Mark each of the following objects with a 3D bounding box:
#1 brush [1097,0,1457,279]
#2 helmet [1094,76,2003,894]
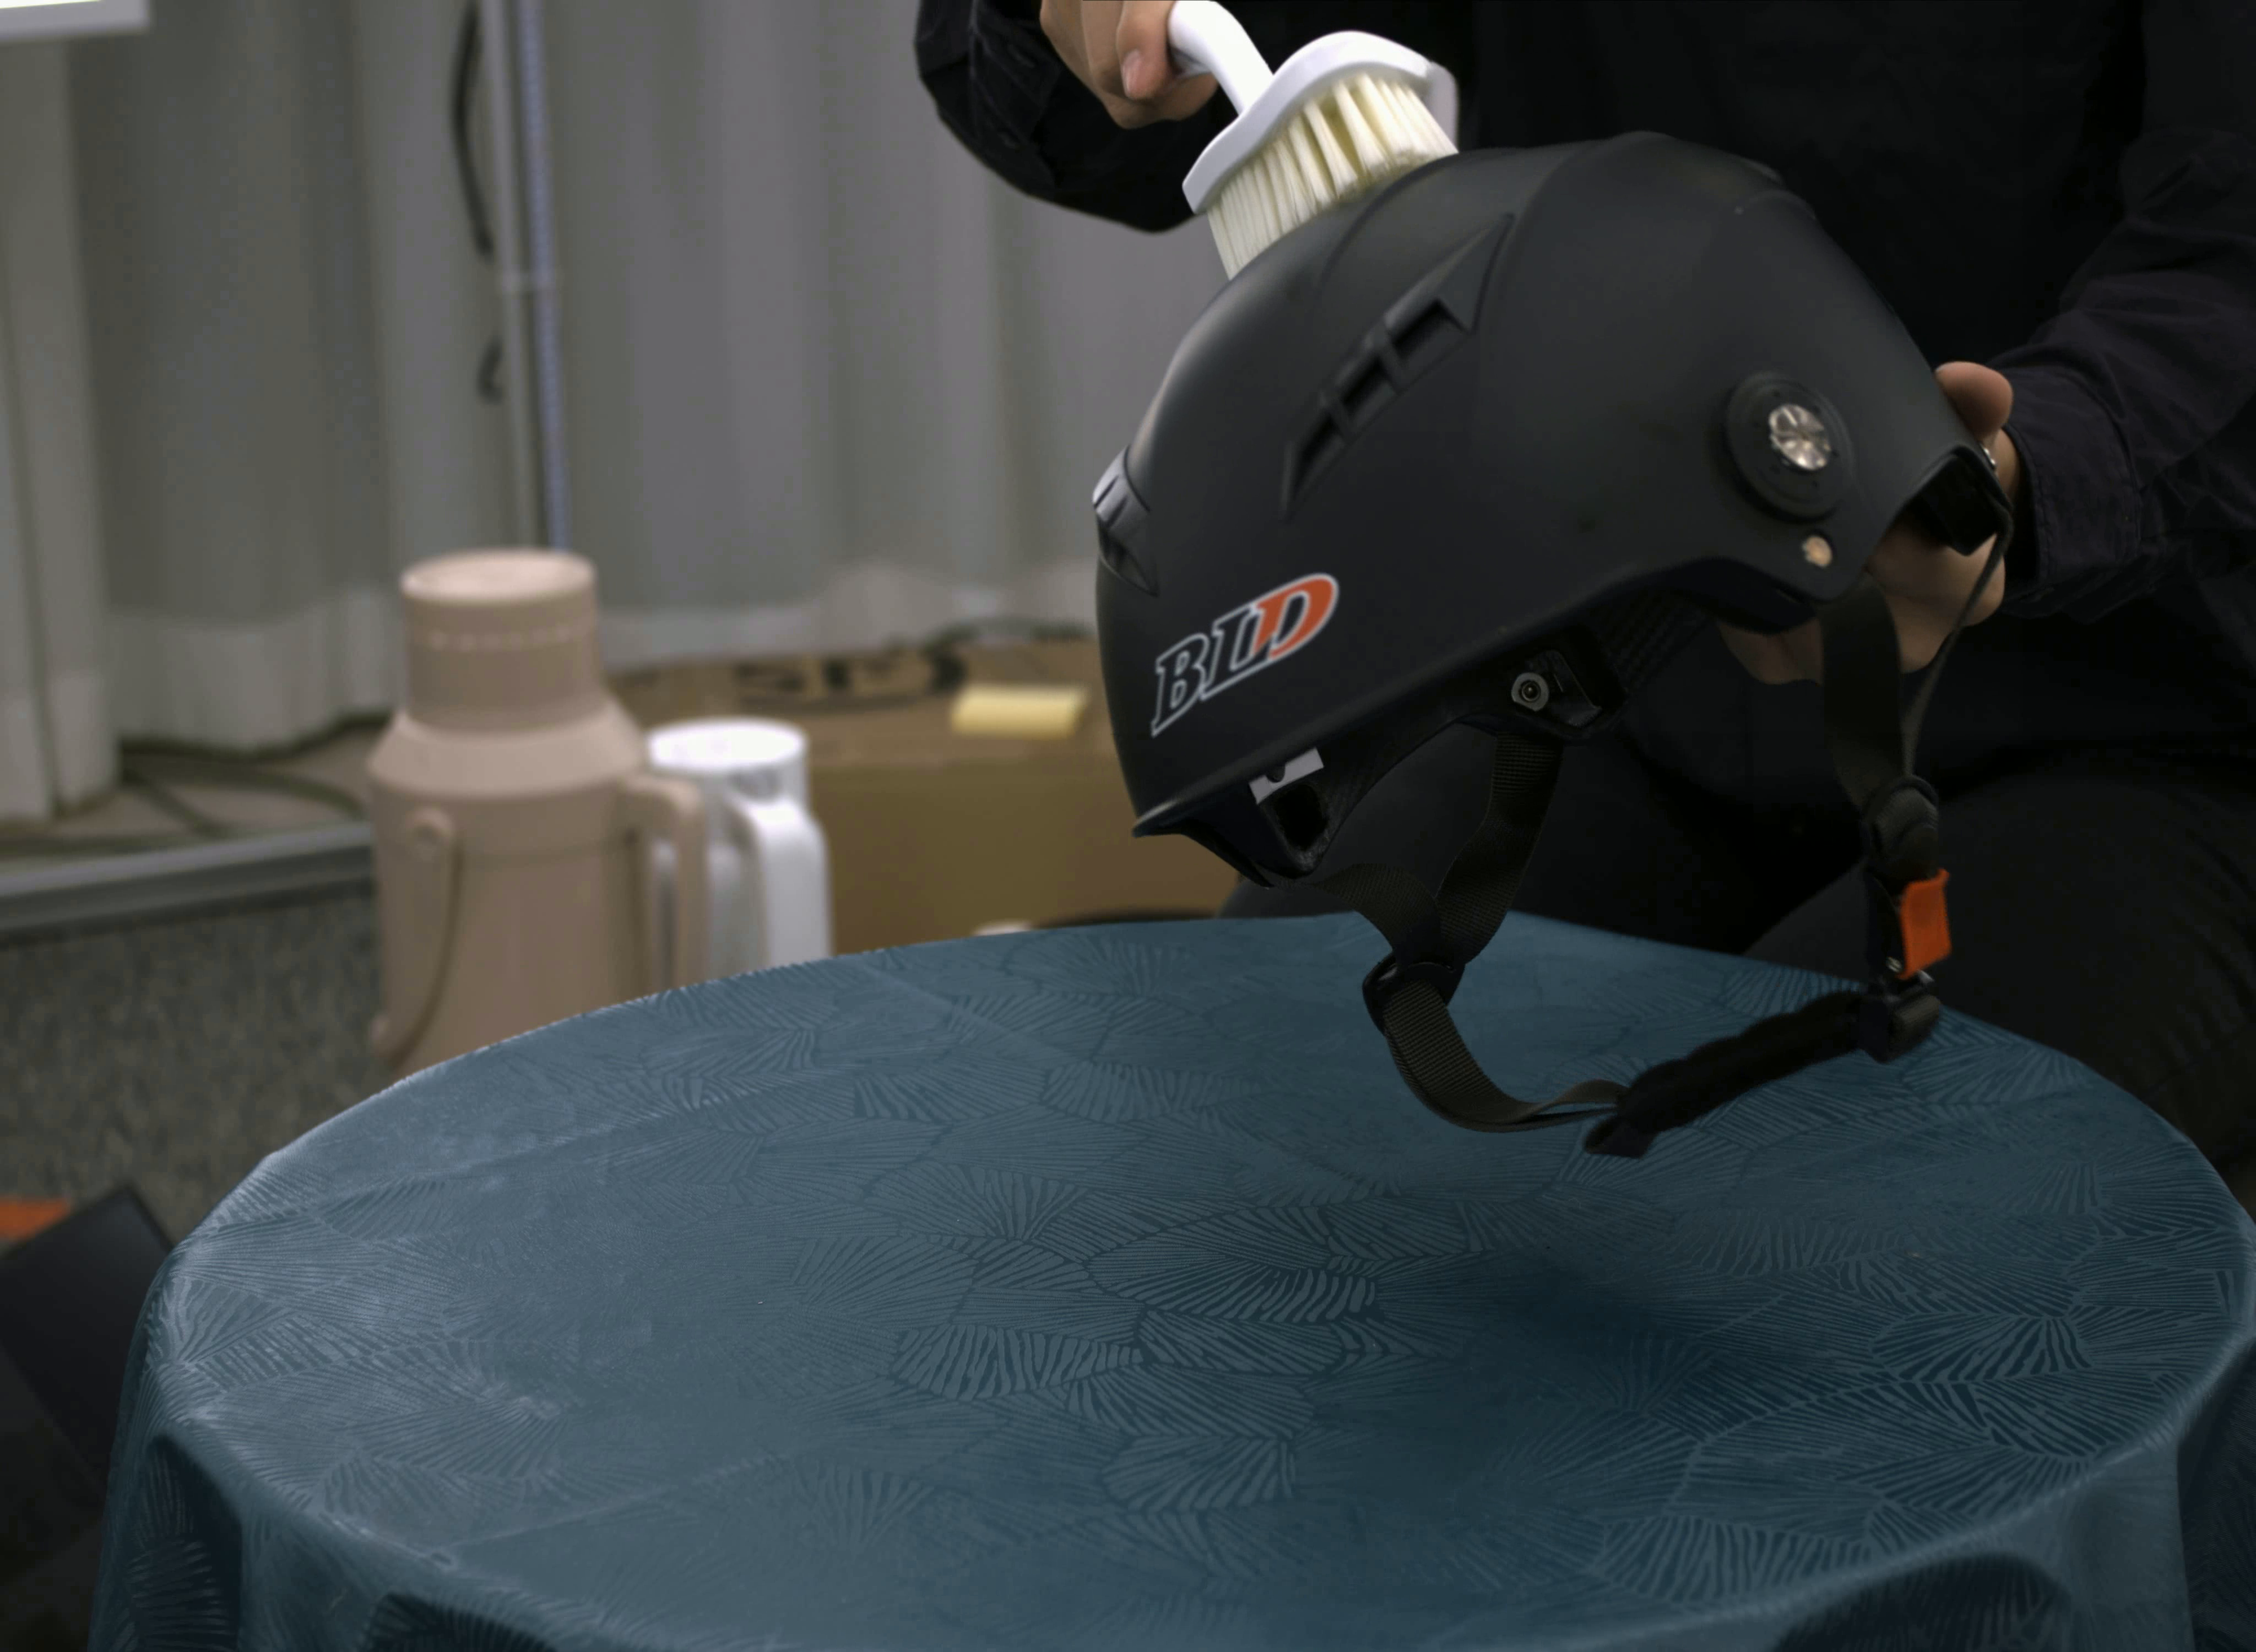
[{"bbox_3d":[0.044,-0.204,1.596,0.082,0.085,0.328,13,6,-11],"label":"brush"},{"bbox_3d":[0.101,-0.103,1.434,0.271,0.173,0.250,-22,-7,-46],"label":"helmet"}]
